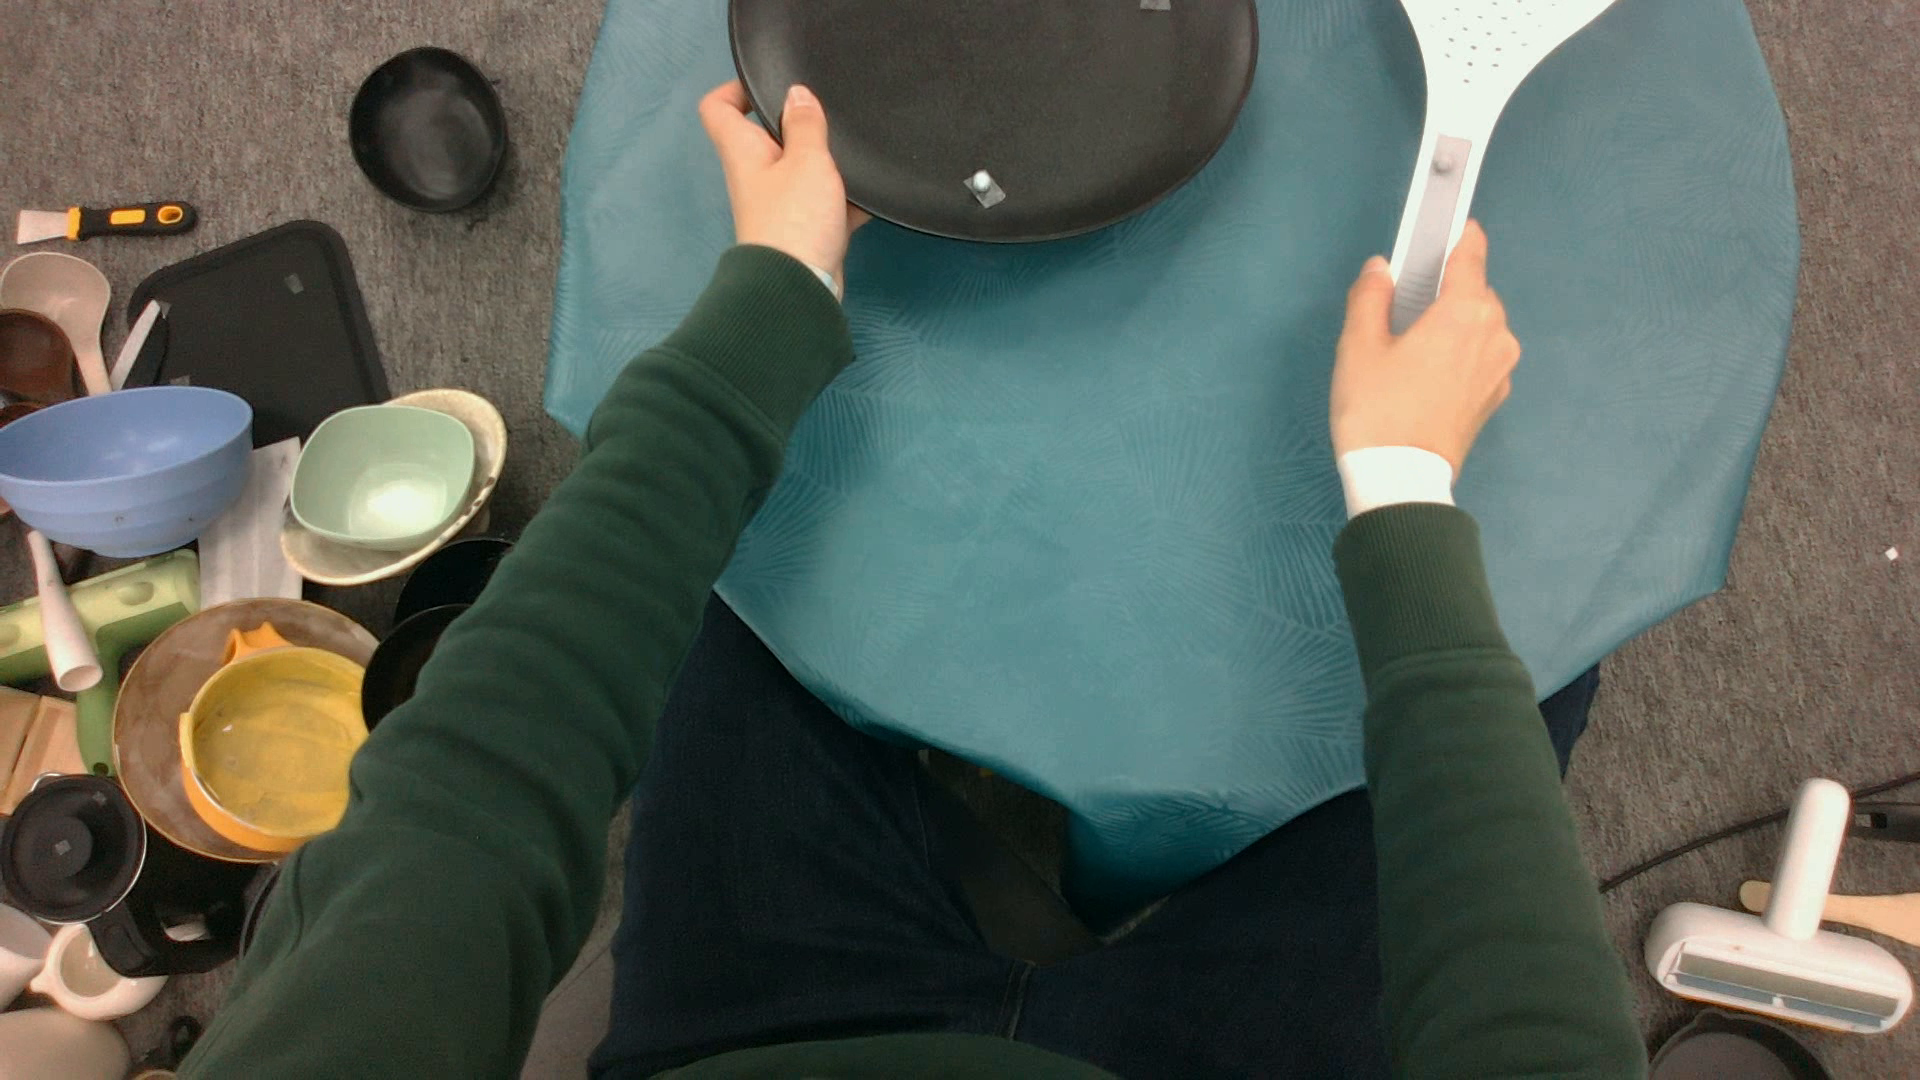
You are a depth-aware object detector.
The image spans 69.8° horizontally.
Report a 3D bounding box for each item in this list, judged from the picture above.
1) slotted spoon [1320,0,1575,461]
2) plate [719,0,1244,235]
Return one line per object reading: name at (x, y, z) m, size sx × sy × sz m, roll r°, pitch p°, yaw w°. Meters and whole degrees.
slotted spoon at (0.220, -0.202, 0.628) m, size 0.136 × 0.045 × 0.350 m, roll 15°, pitch 77°, yaw 12°
plate at (0.011, -0.245, 0.645) m, size 0.244 × 0.023 × 0.245 m, roll 1°, pitch 71°, yaw -4°
